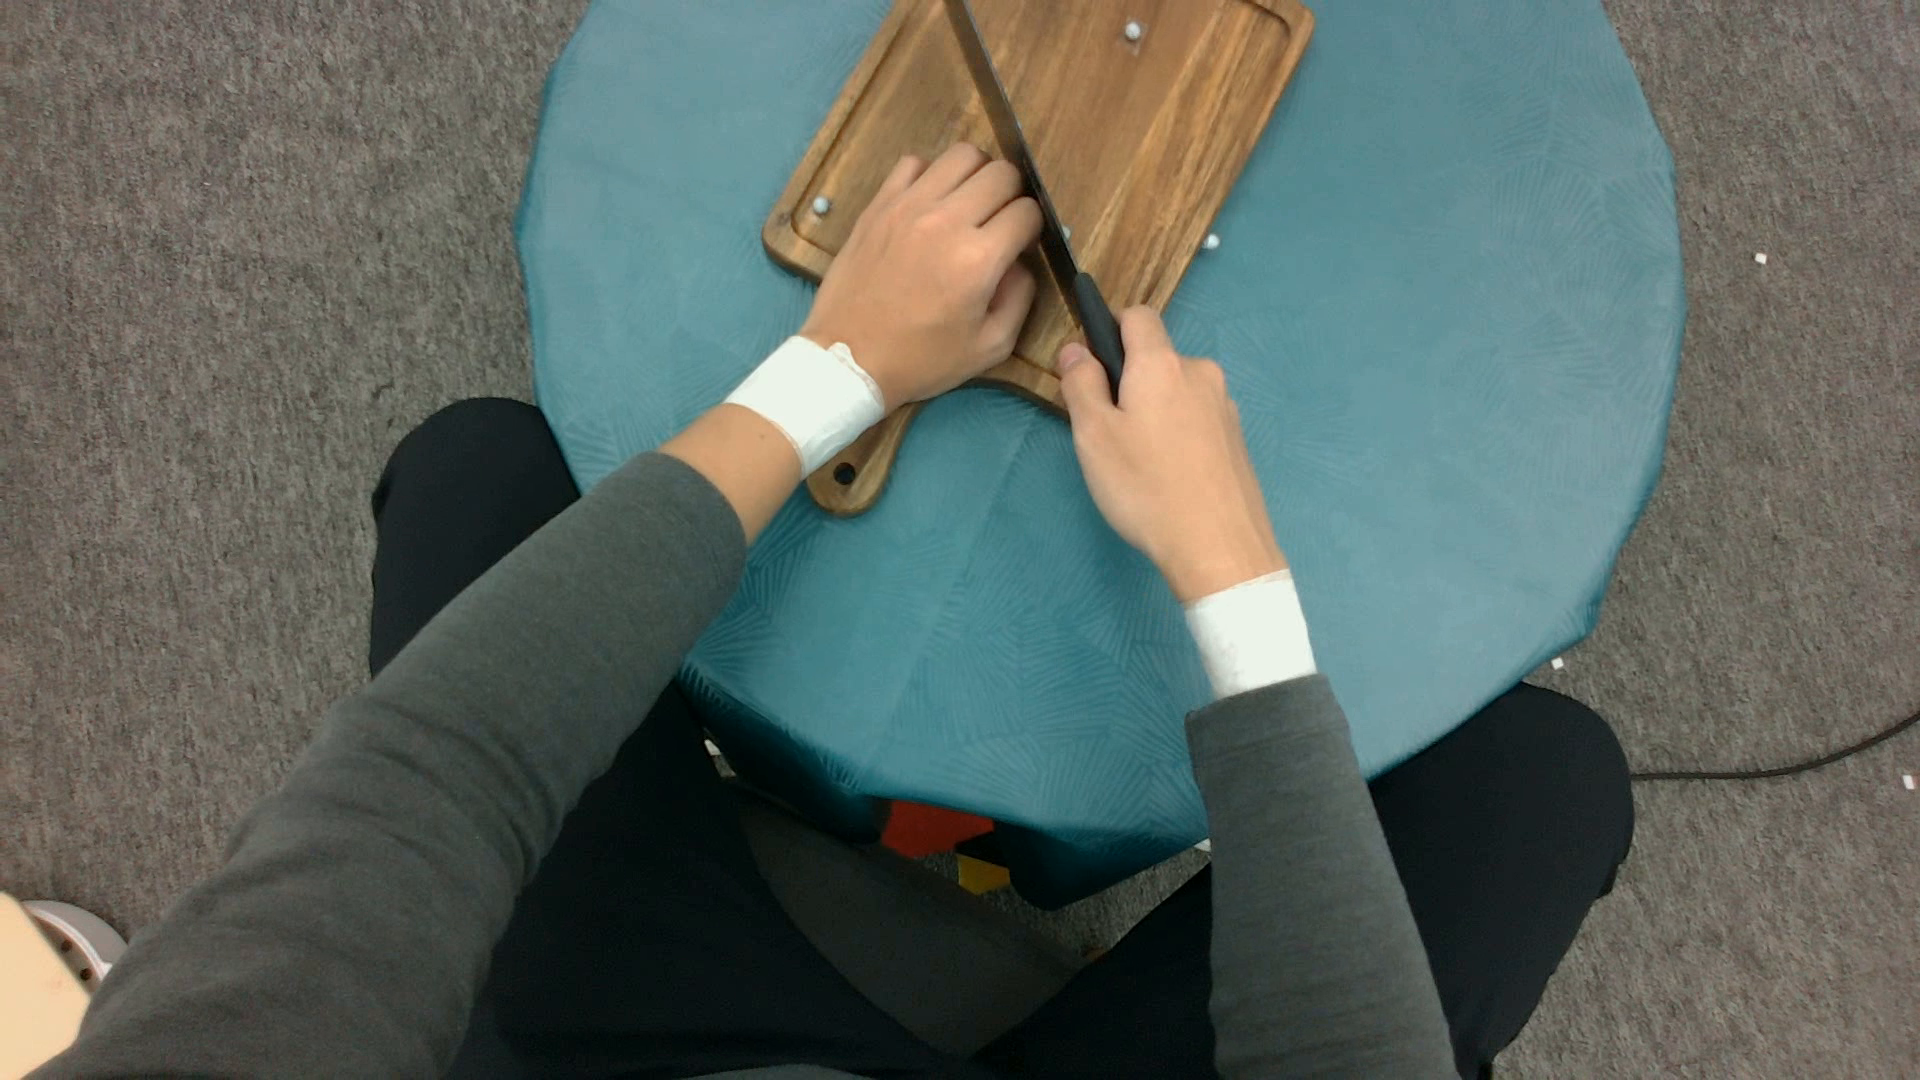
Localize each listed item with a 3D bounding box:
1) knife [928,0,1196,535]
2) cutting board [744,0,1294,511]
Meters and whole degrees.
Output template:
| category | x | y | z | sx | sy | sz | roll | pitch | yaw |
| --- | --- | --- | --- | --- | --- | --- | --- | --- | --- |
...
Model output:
| category | x | y | z | sx | sy | sz | roll | pitch | yaw |
| --- | --- | --- | --- | --- | --- | --- | --- | --- | --- |
| knife | 0.041 | -0.142 | 0.649 | 0.021 | 0.081 | 0.302 | -23 | 79 | -1 |
| cutting board | 0.010 | -0.172 | 0.699 | 0.201 | 0.023 | 0.352 | 28 | 81 | 2 |
